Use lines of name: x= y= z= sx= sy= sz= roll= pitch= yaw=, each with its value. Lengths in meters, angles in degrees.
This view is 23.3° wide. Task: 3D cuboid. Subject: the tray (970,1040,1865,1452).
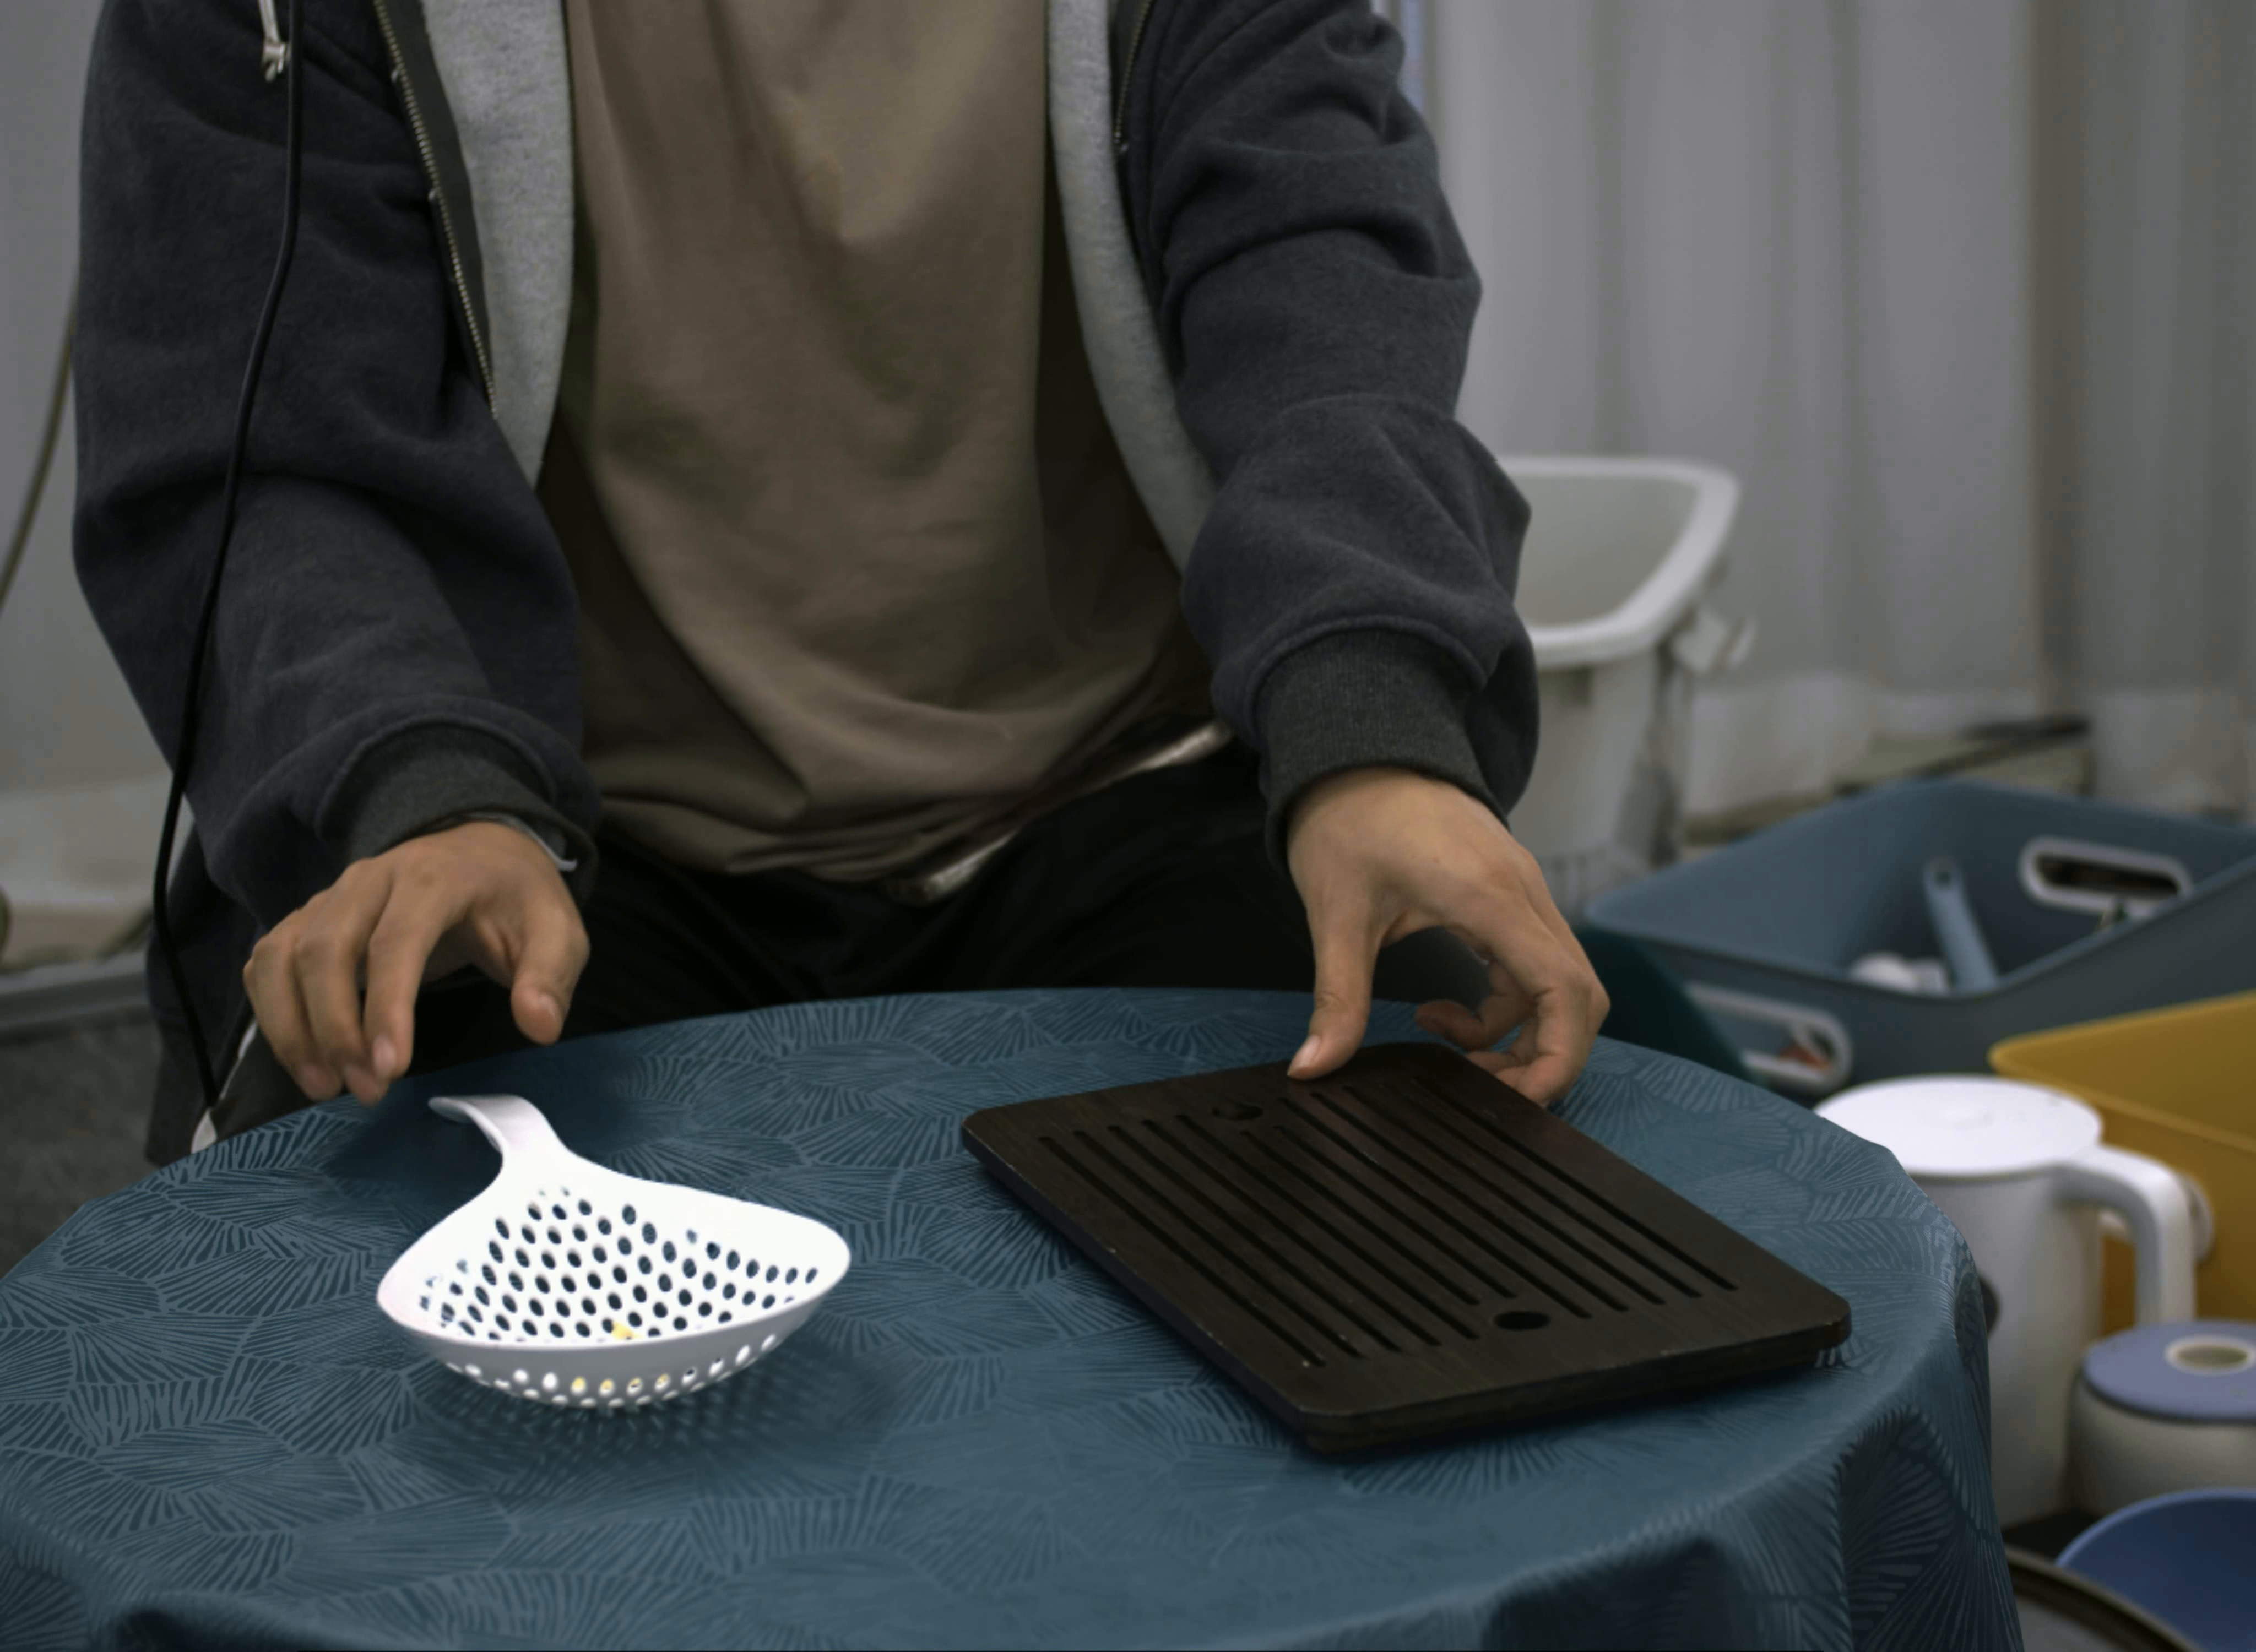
tray: x=0.079 y=0.122 z=1.639 sx=0.169 sy=0.018 sz=0.308 roll=-8 pitch=16 yaw=-19

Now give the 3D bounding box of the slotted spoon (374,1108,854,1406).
slotted spoon: x=-0.177 y=0.117 z=1.663 sx=0.136 sy=0.050 sz=0.351 roll=-9 pitch=16 yaw=-15
